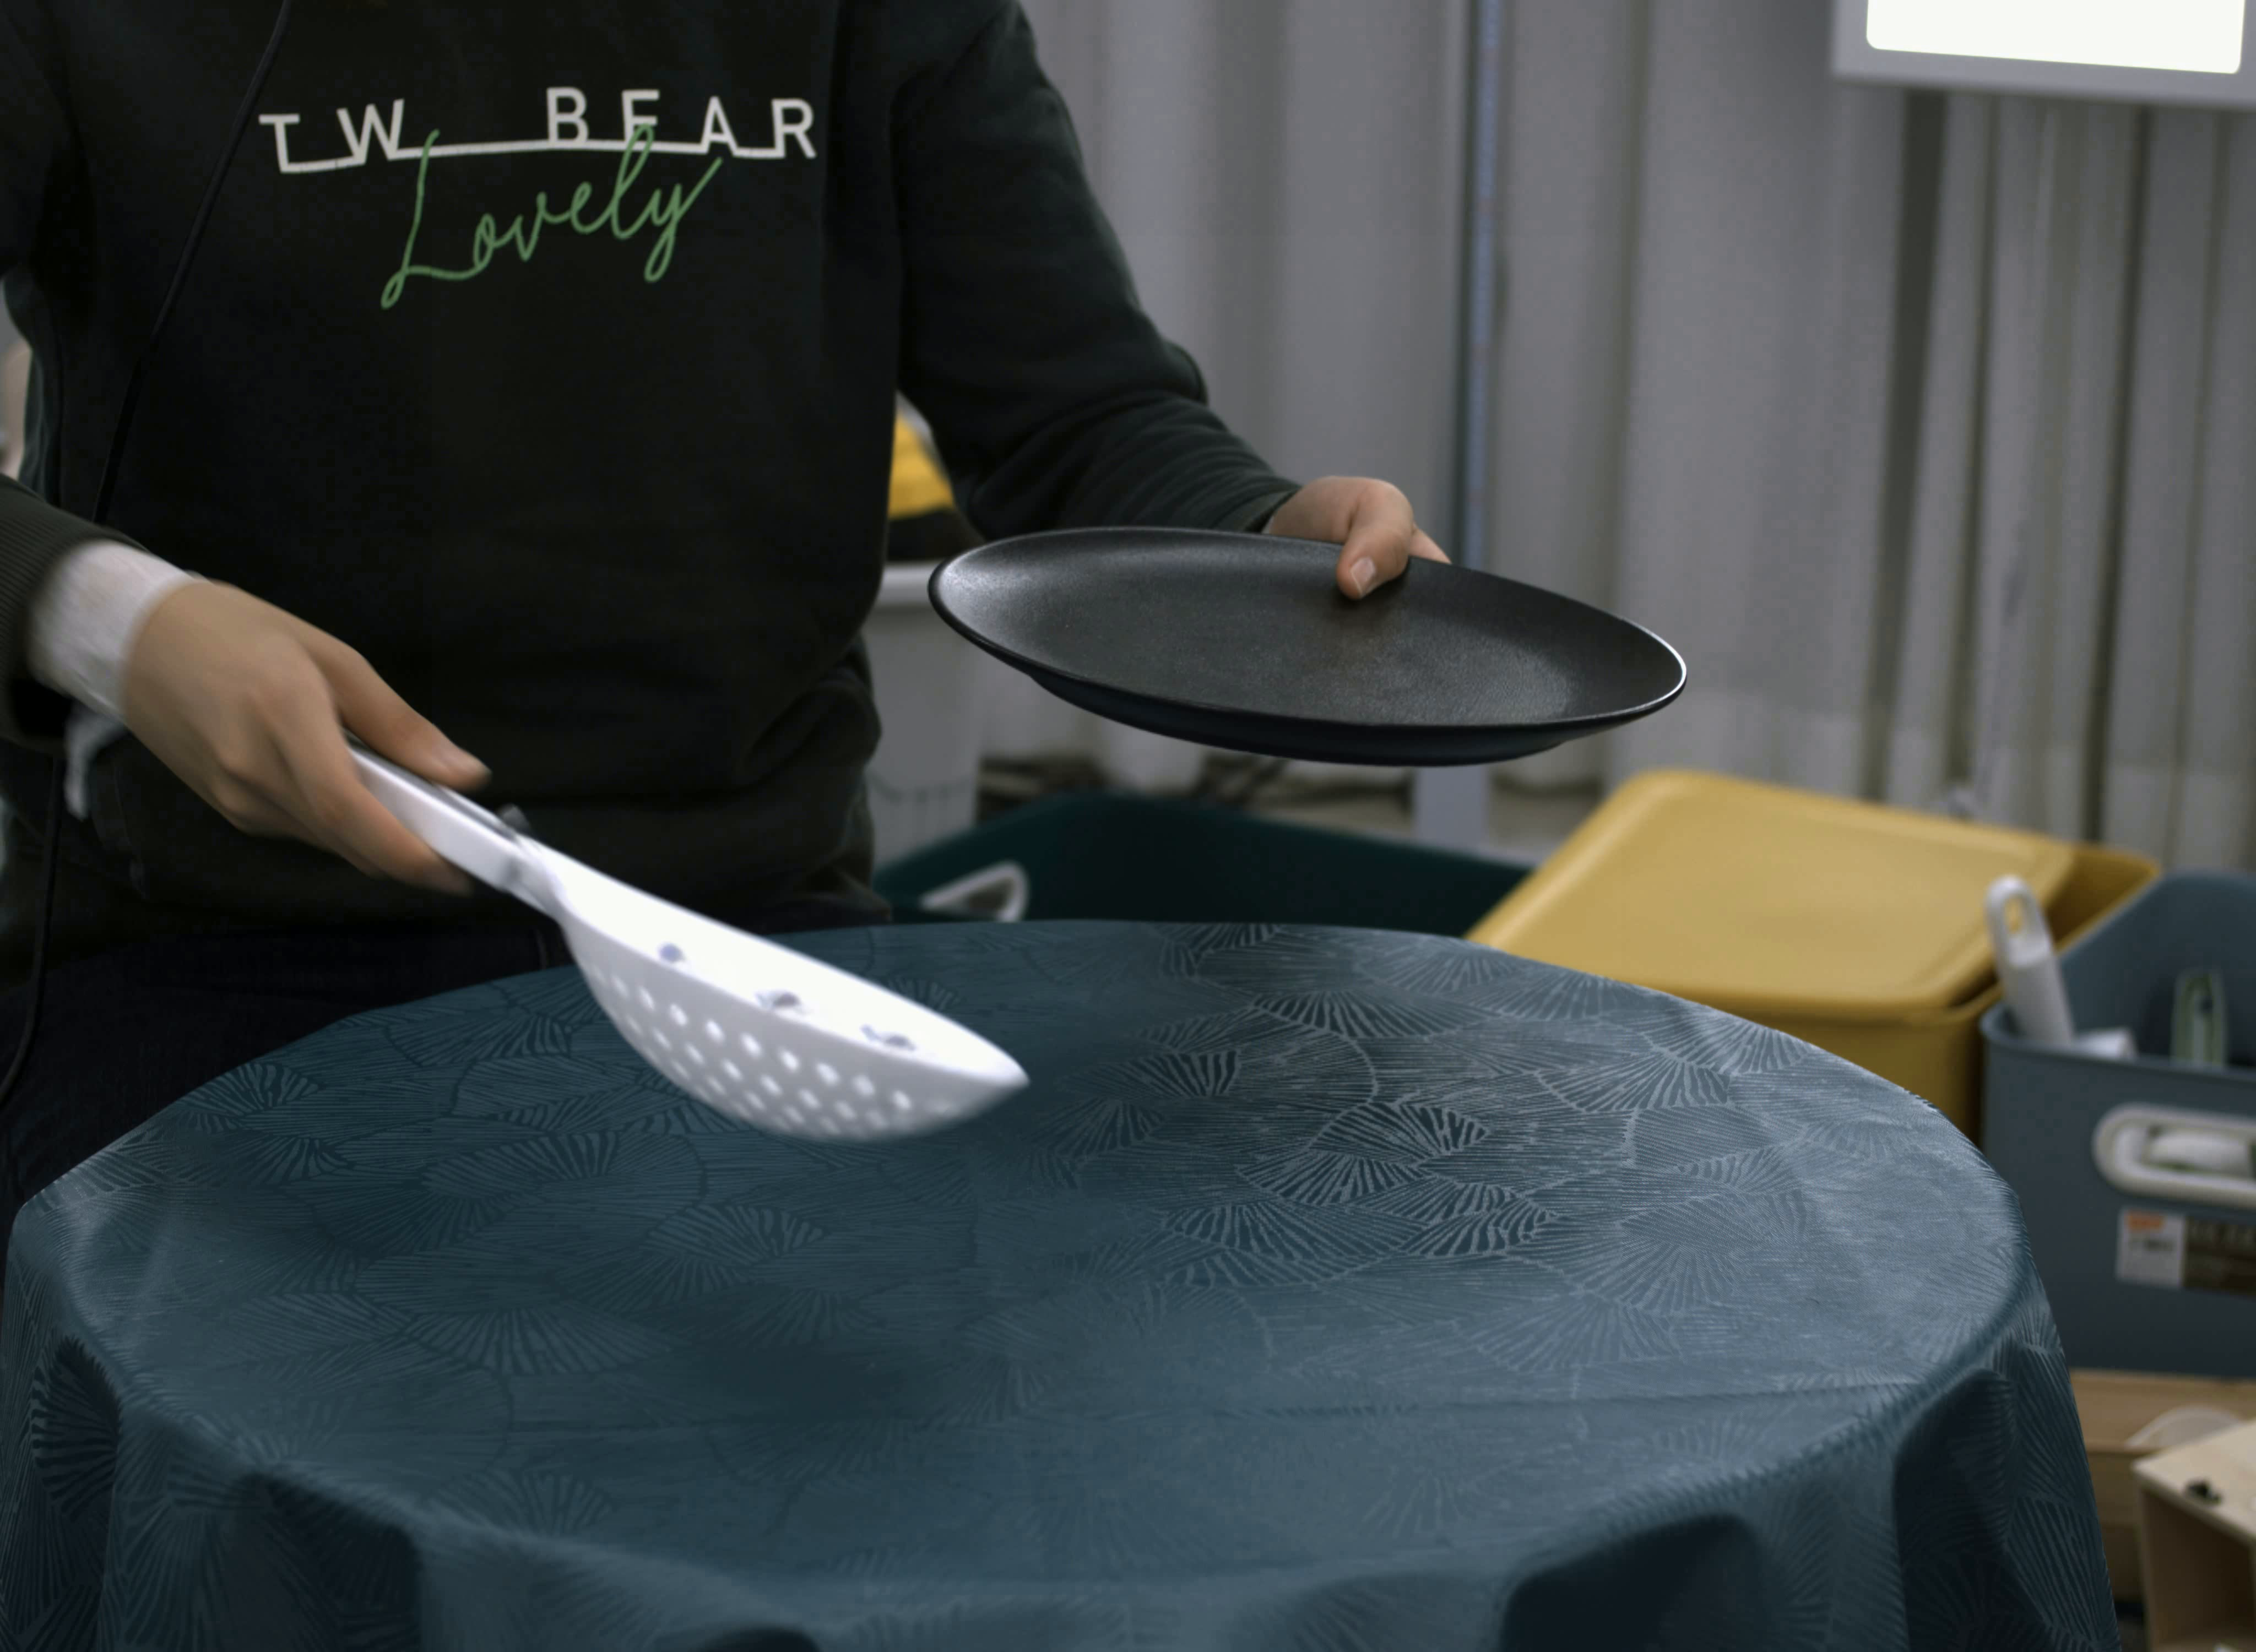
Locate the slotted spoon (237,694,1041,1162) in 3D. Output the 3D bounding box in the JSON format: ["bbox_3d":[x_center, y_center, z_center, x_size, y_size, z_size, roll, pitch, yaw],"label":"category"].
[{"bbox_3d":[-0.158,0.022,1.514,0.137,0.046,0.345,20,10,-46],"label":"slotted spoon"}]

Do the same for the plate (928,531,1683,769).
[{"bbox_3d":[0.055,-0.054,1.681,0.244,0.023,0.243,7,16,-2],"label":"plate"}]
